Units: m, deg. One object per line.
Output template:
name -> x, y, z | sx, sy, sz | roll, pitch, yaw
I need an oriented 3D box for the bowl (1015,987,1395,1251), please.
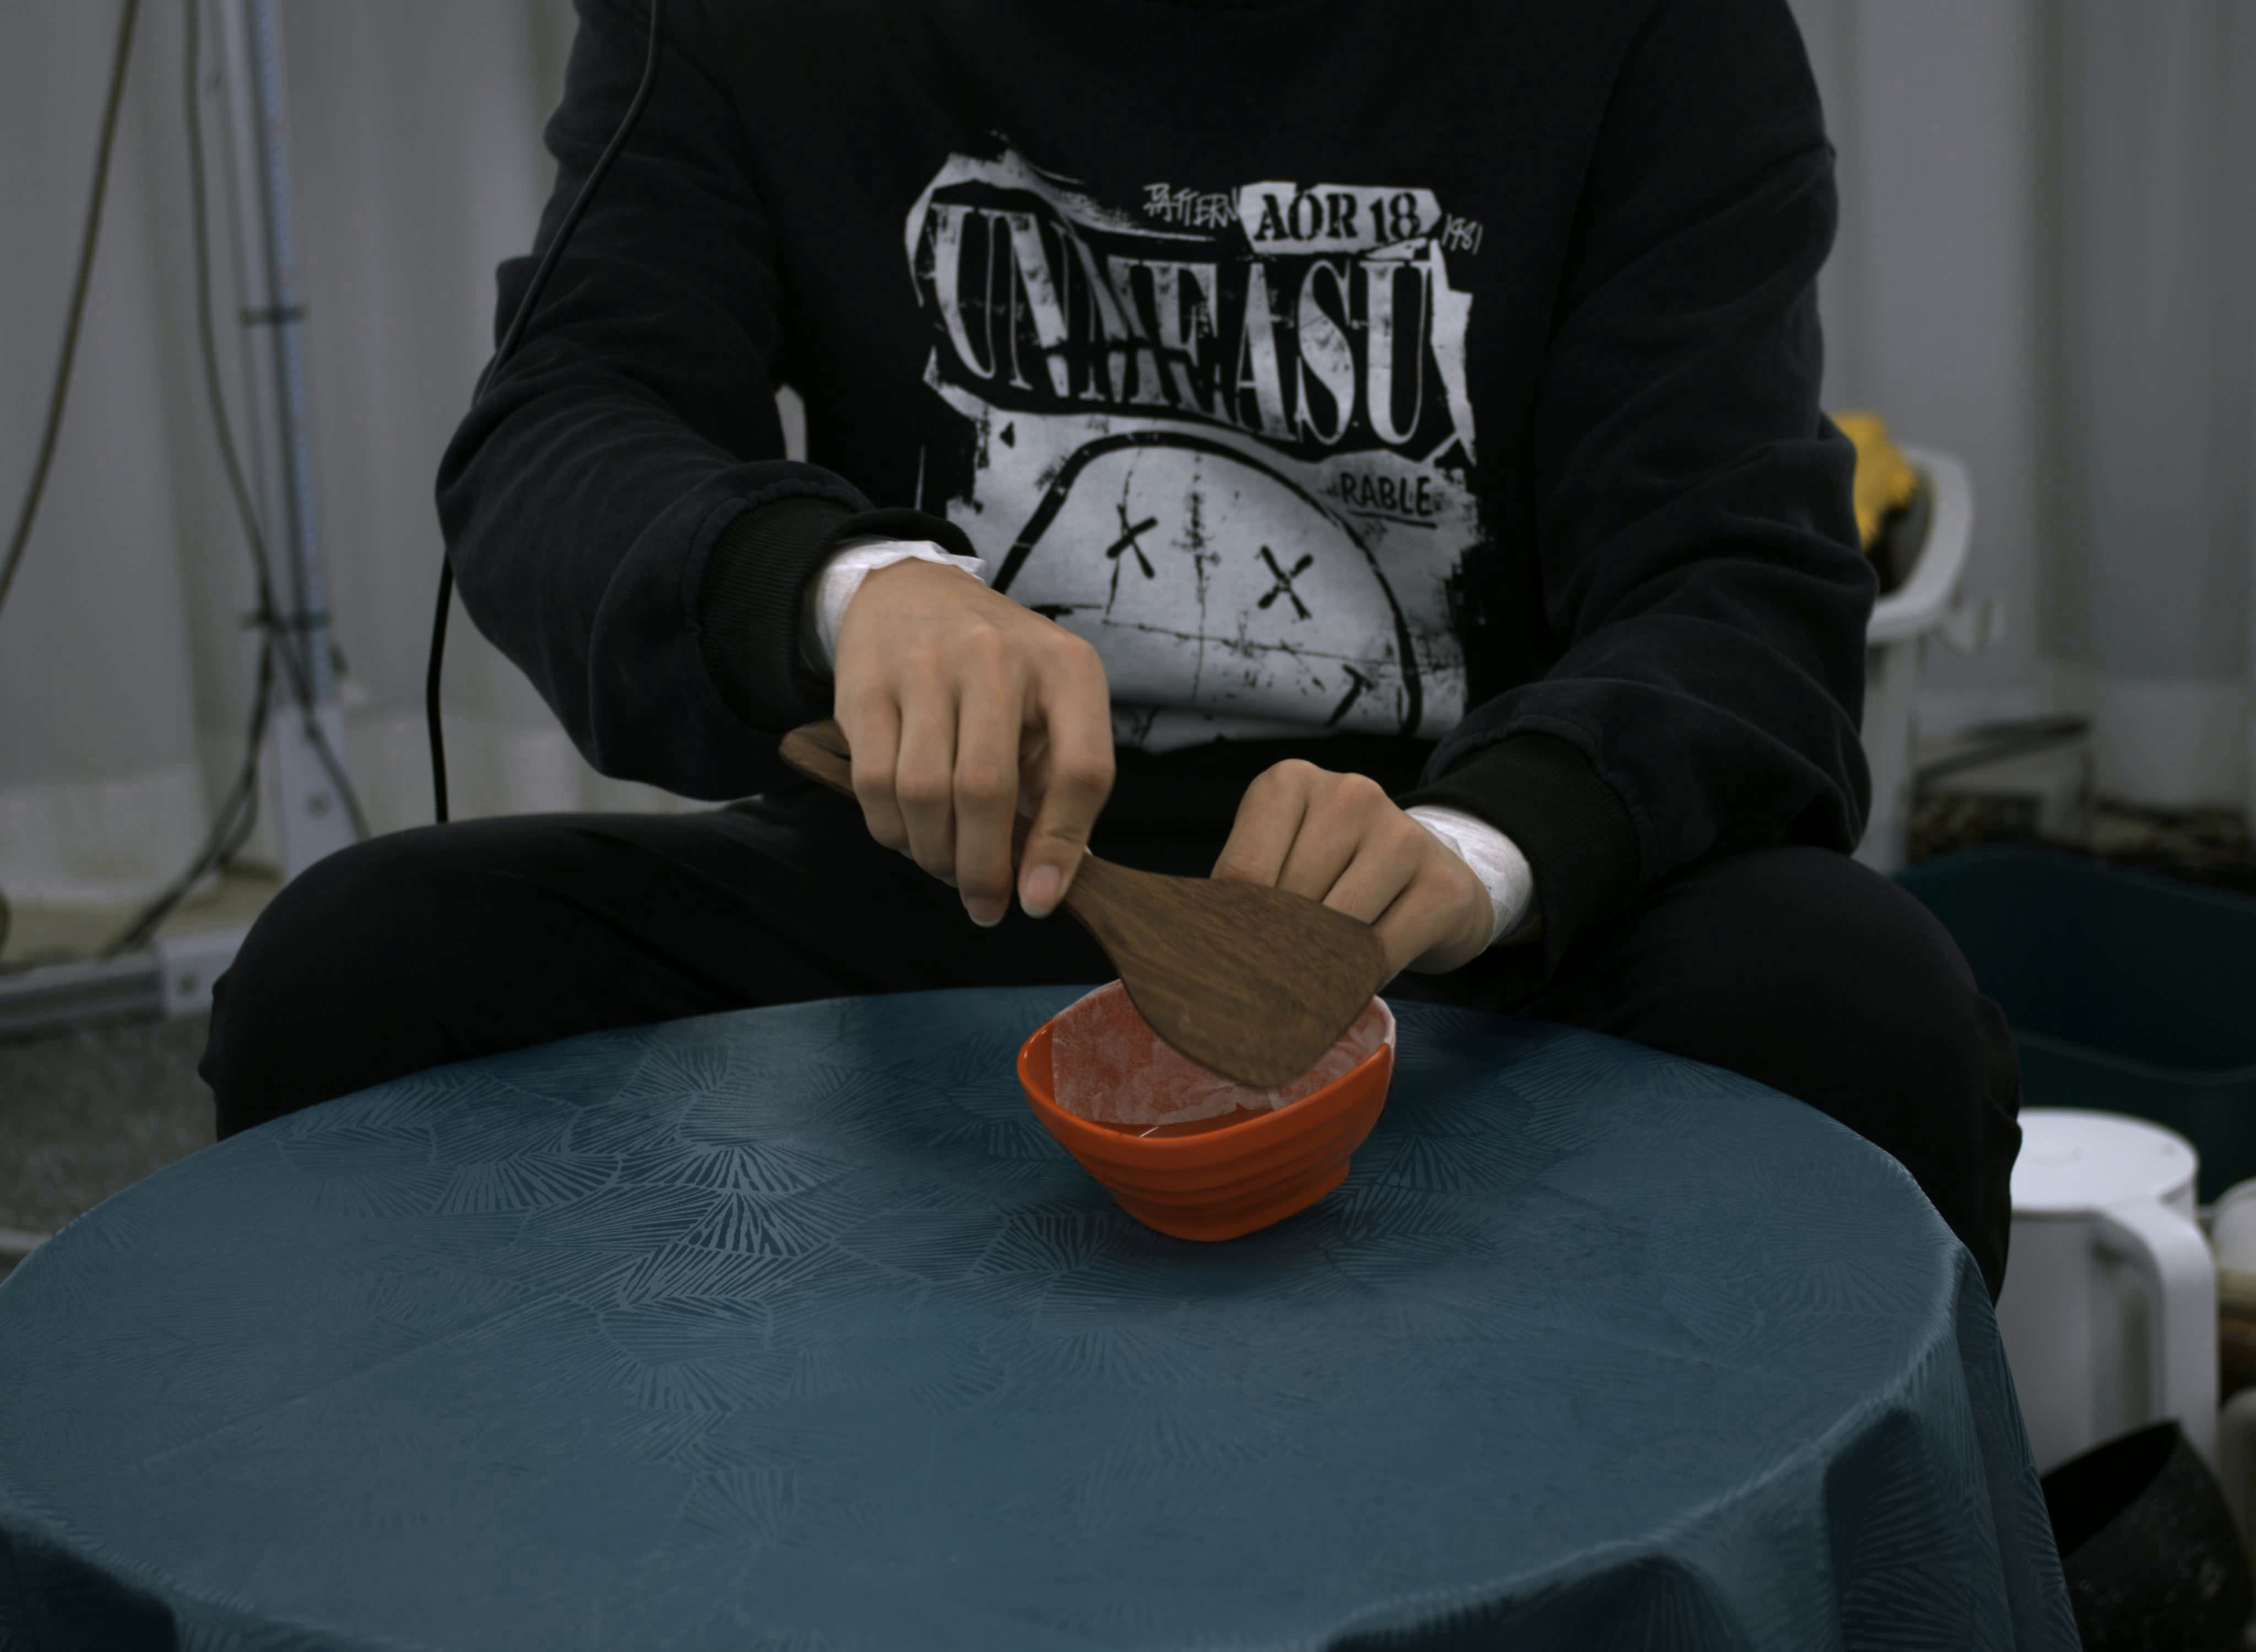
bowl -> 0.027, 0.089, 1.685 | 0.118, 0.051, 0.120 | -10, 26, 4

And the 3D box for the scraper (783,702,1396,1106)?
scraper -> -0.018, 0.016, 1.687 | 0.212, 0.010, 0.076 | 30, 58, 22
